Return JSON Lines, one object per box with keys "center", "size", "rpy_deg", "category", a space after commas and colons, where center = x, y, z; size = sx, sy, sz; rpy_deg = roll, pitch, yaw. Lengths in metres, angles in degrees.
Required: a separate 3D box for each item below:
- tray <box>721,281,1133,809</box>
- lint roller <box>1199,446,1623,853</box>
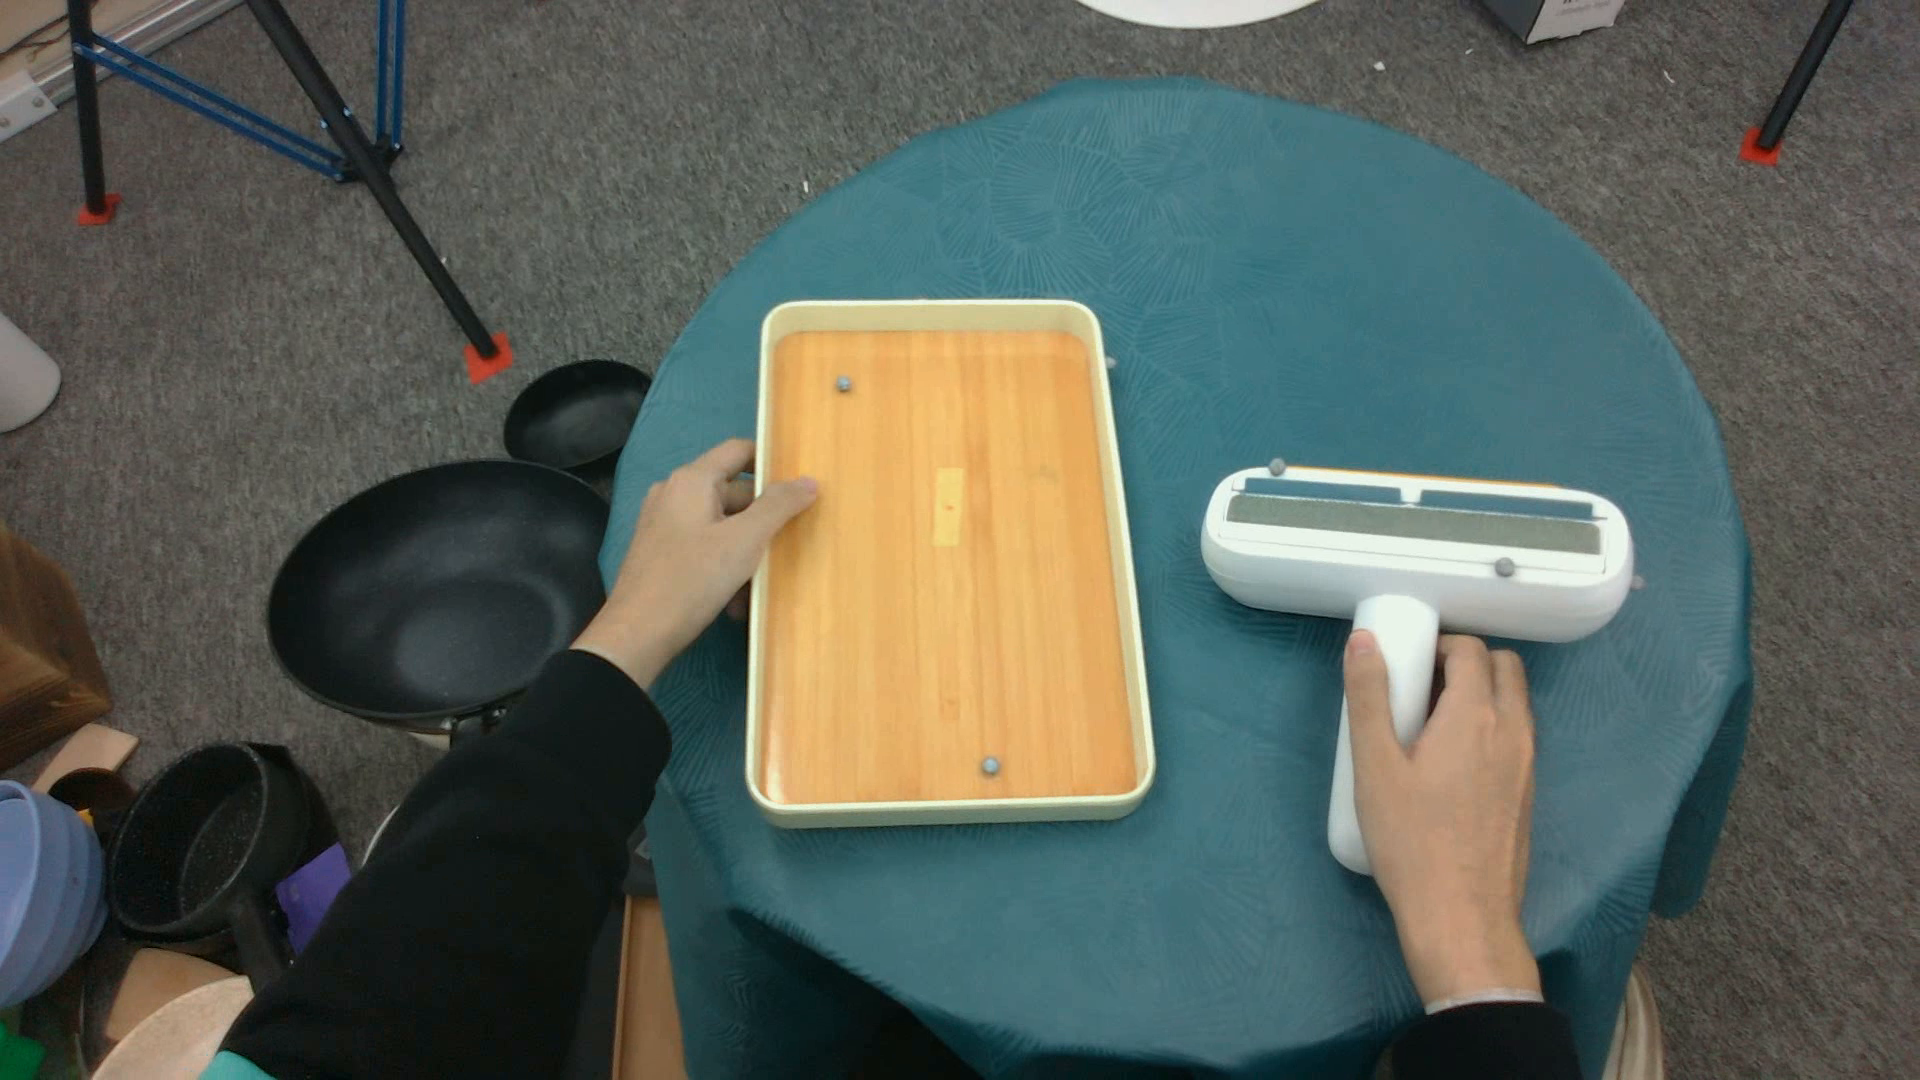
{"center": [-0.021, -0.011, 0.709], "size": [0.191, 0.027, 0.301], "rpy_deg": [-1, 59, -3], "category": "tray"}
{"center": [0.194, 0.049, 0.640], "size": [0.192, 0.074, 0.193], "rpy_deg": [12, 60, 18], "category": "lint roller"}
